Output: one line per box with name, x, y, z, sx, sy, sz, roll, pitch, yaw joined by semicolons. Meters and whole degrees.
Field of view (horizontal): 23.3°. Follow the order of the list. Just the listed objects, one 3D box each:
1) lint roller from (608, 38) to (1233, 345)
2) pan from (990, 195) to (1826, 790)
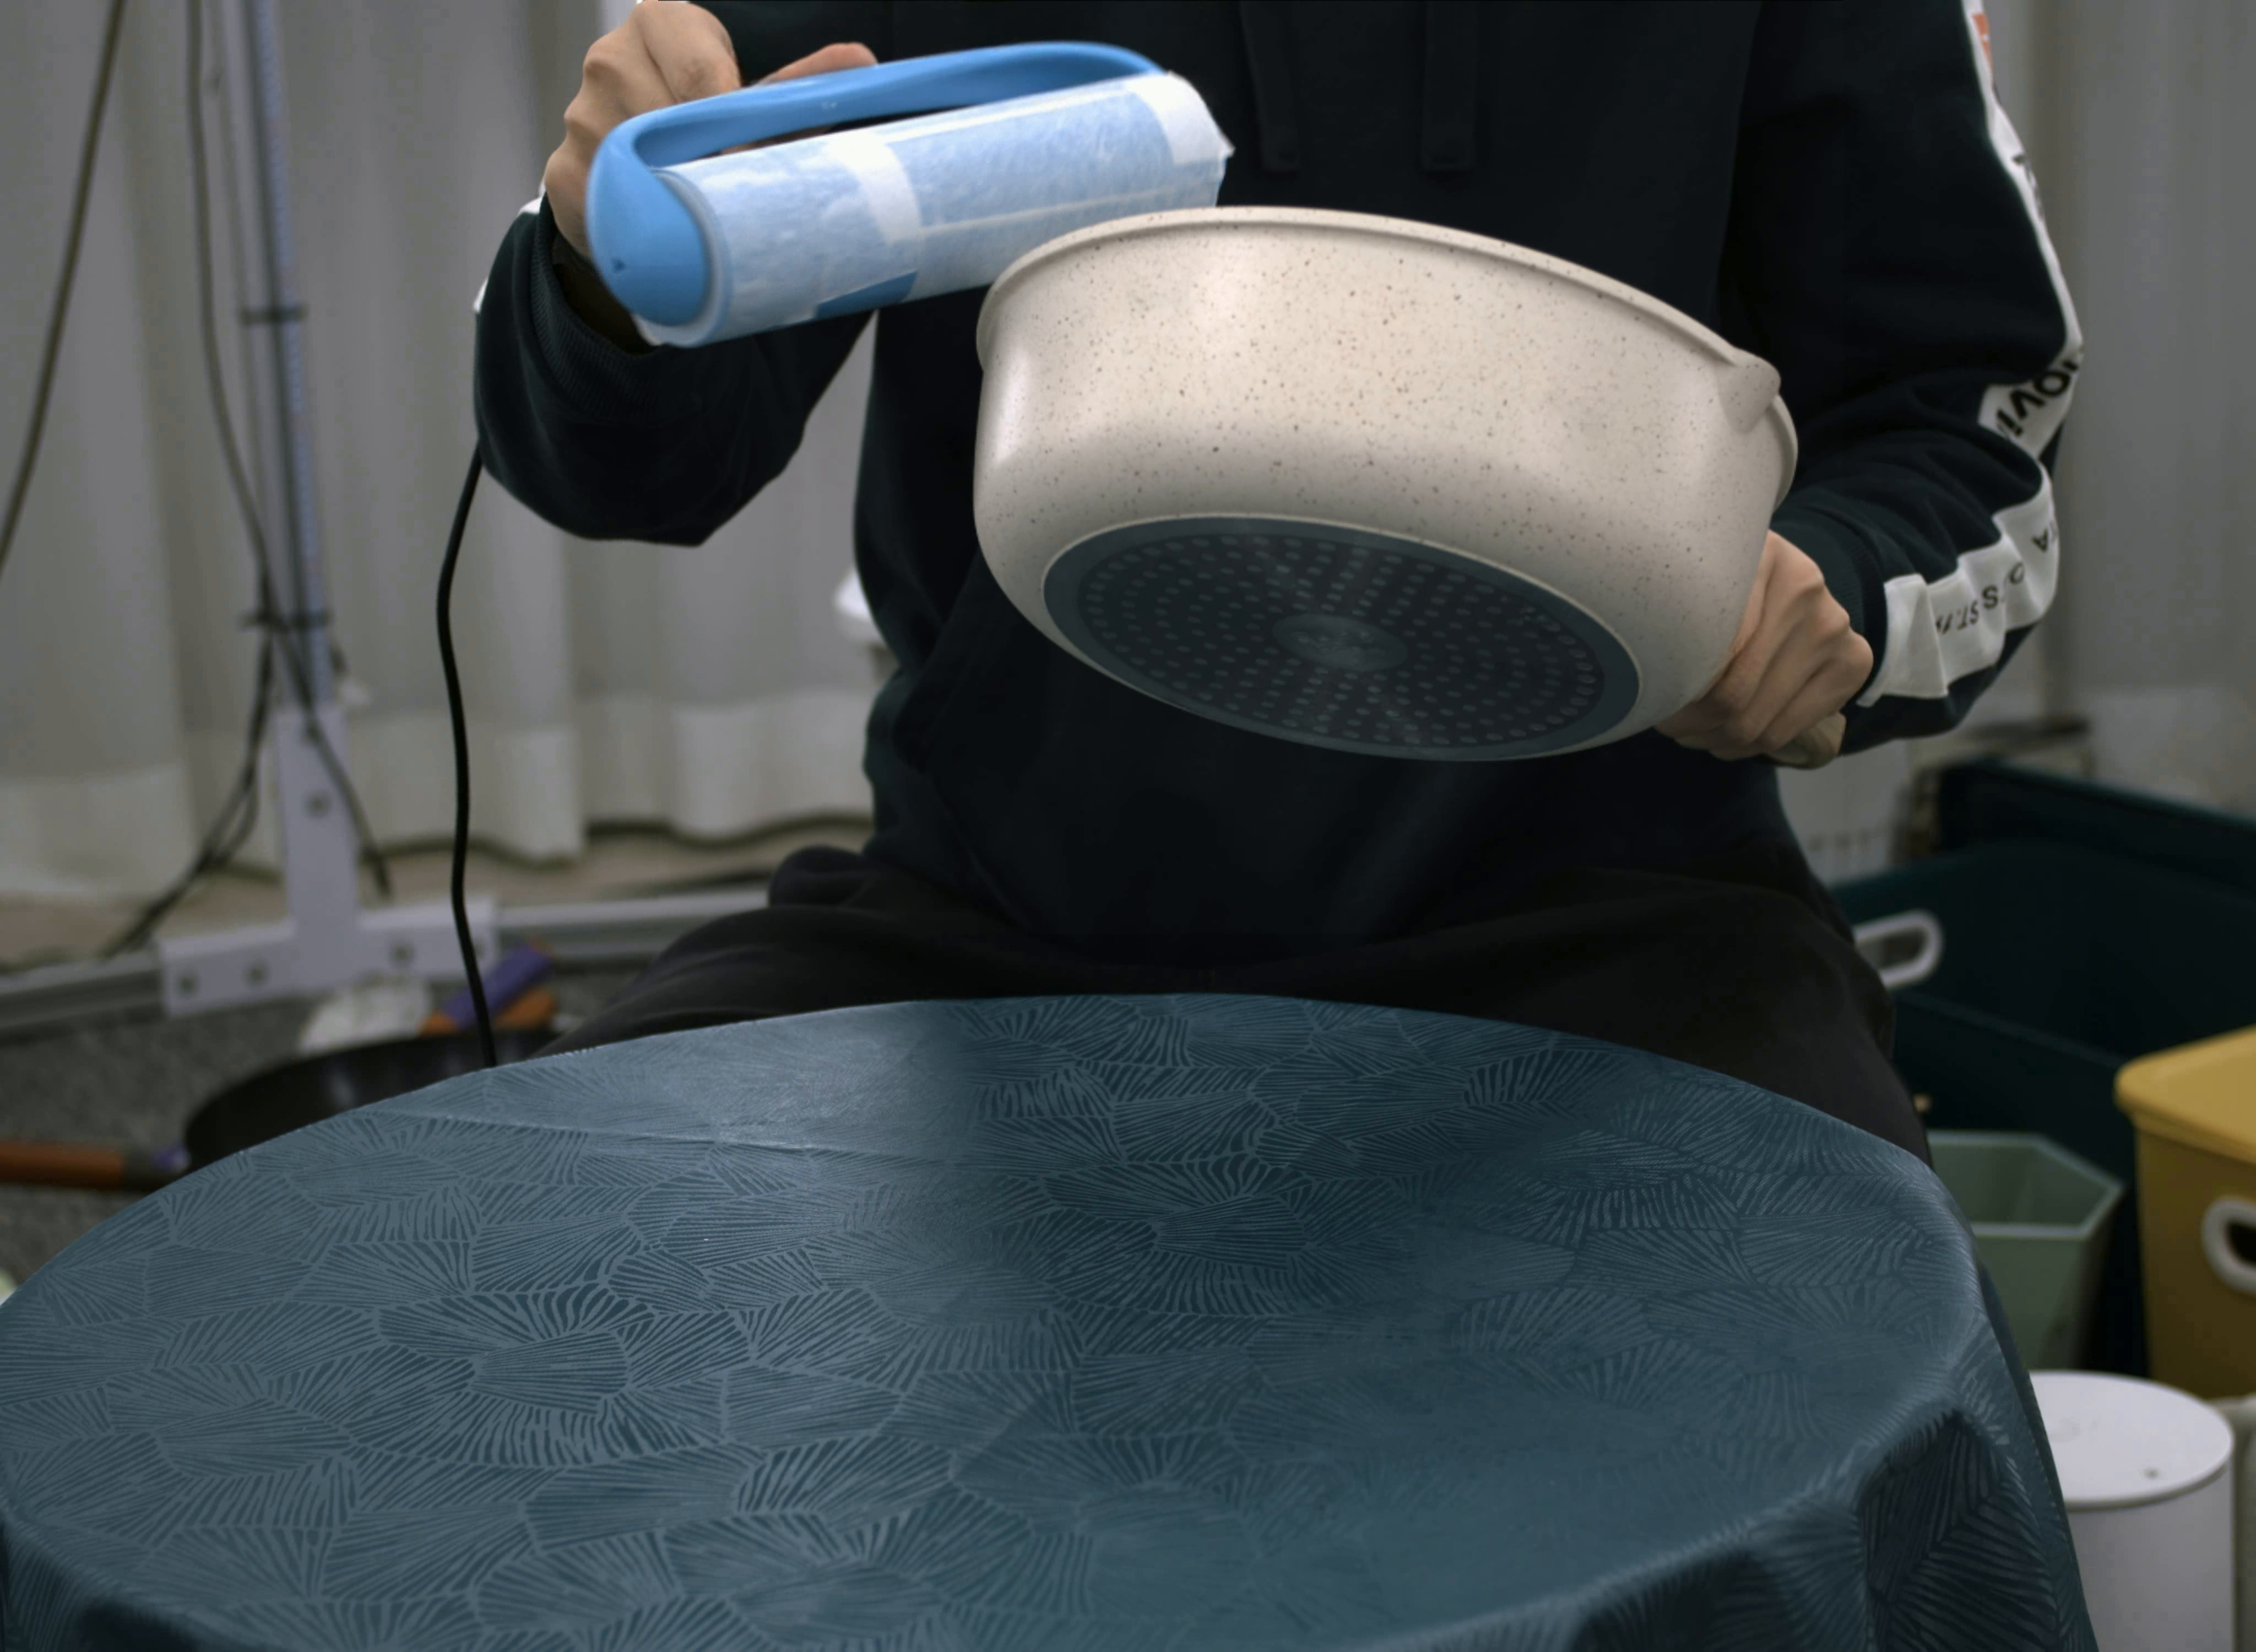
lint roller;-0.098;-0.199;1.692;0.229;0.067;0.181;-21;23;-41
pan;0.121;-0.065;1.716;0.263;0.103;0.429;-3;-24;32
